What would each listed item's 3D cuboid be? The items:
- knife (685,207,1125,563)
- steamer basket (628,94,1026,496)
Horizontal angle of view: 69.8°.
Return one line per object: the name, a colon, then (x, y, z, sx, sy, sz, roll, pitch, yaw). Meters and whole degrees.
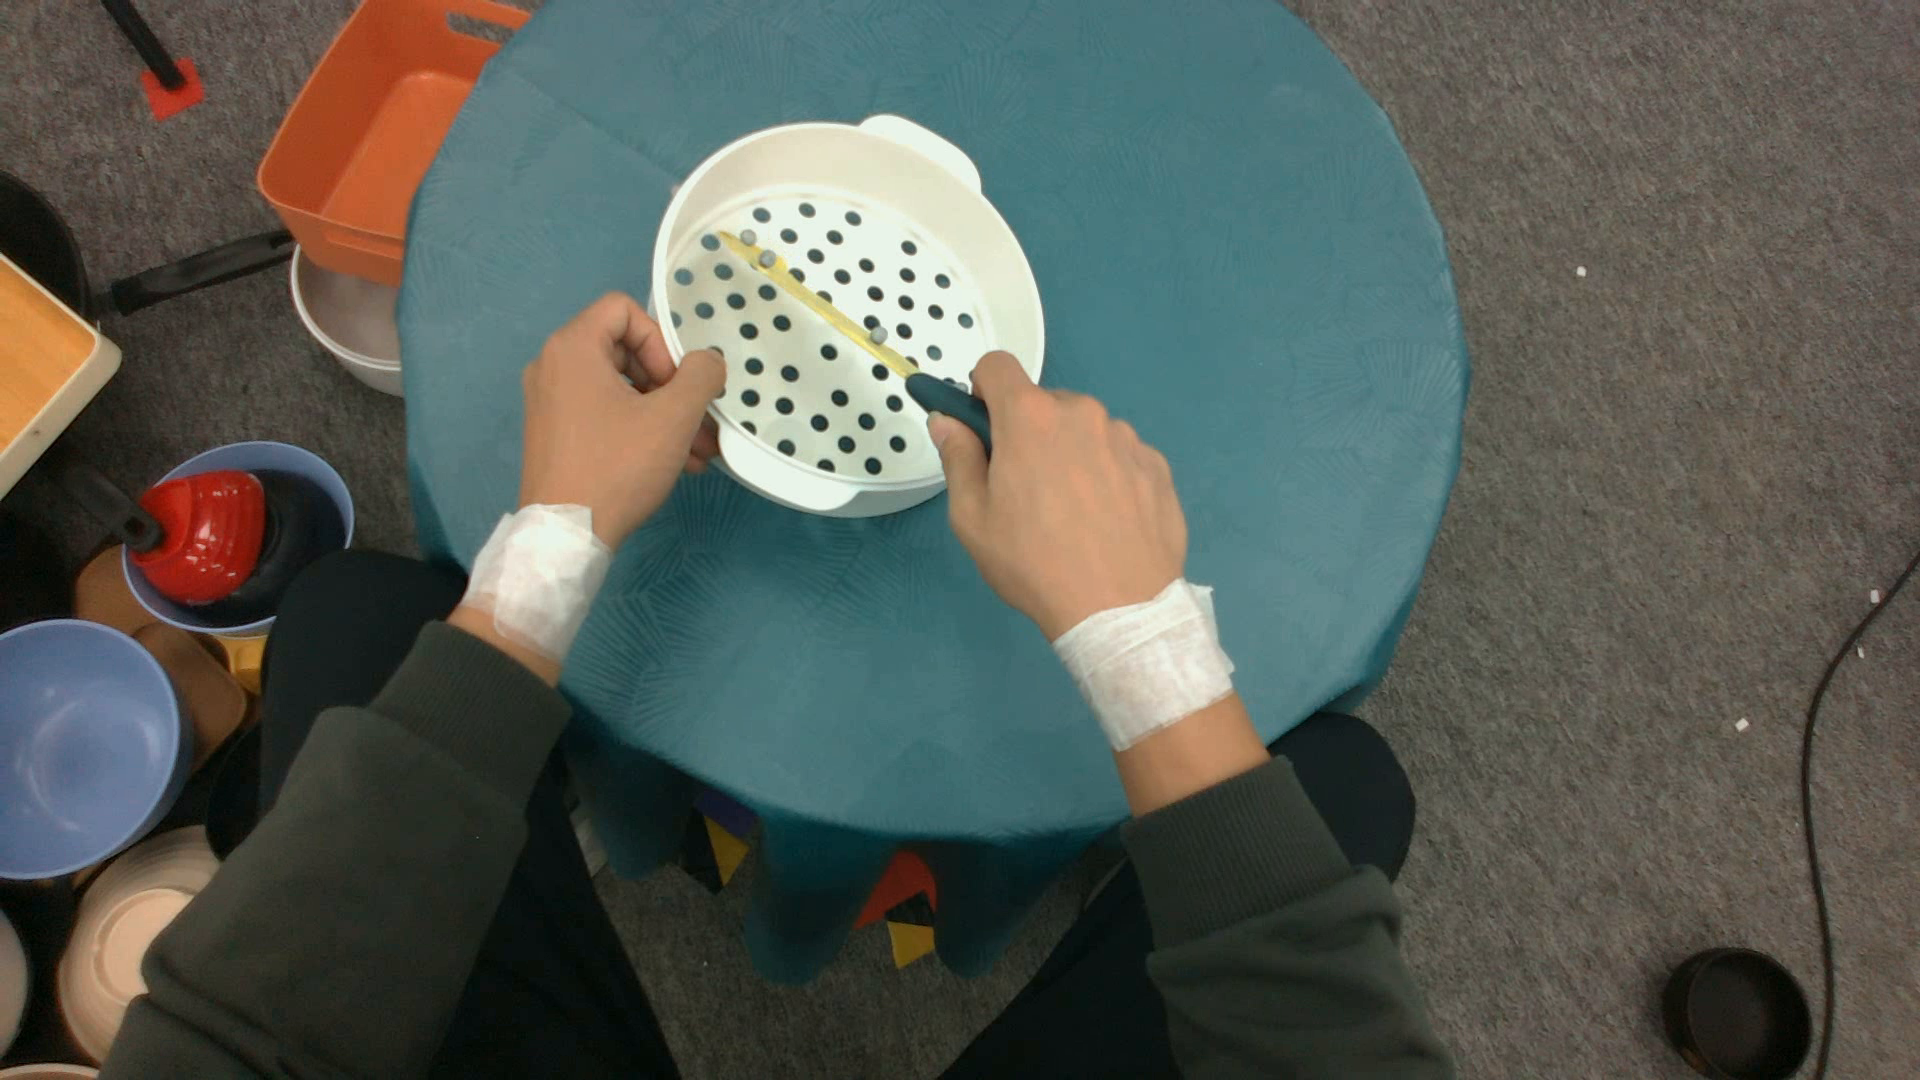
knife: (-0.032, -0.082, 0.650, 0.289, 0.081, 0.027, 40, 104, 21)
steamer basket: (-0.070, -0.121, 0.712, 0.202, 0.069, 0.231, 26, 66, -12)
